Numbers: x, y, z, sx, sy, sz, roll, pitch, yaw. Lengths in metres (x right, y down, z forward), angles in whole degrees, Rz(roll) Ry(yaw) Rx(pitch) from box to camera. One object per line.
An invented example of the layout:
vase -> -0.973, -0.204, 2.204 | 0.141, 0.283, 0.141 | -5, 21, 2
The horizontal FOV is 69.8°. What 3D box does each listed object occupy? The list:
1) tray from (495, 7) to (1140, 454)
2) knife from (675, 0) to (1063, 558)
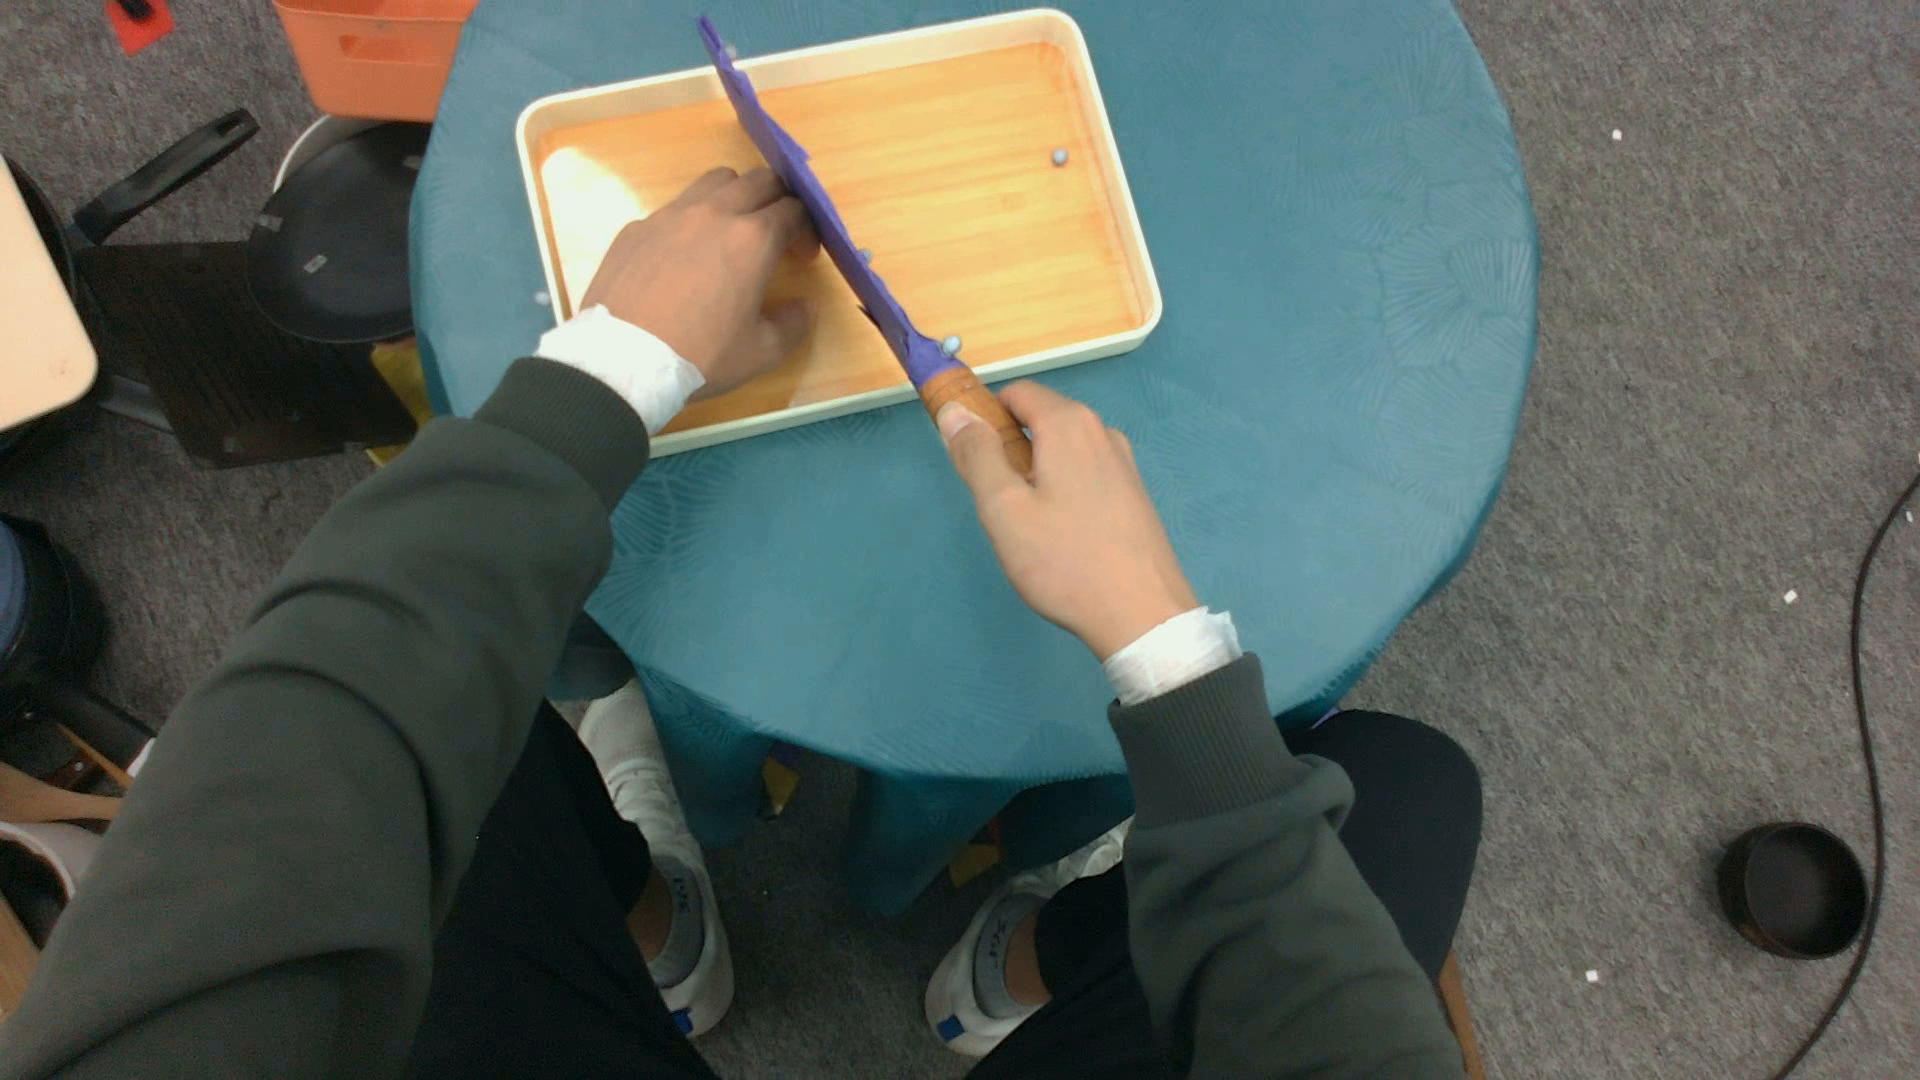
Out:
tray -> -0.071, -0.165, 0.714 | 0.300, 0.027, 0.192 | -14, 79, -10
knife -> -0.046, -0.120, 0.644 | 0.032, 0.103, 0.315 | -31, 75, -3
